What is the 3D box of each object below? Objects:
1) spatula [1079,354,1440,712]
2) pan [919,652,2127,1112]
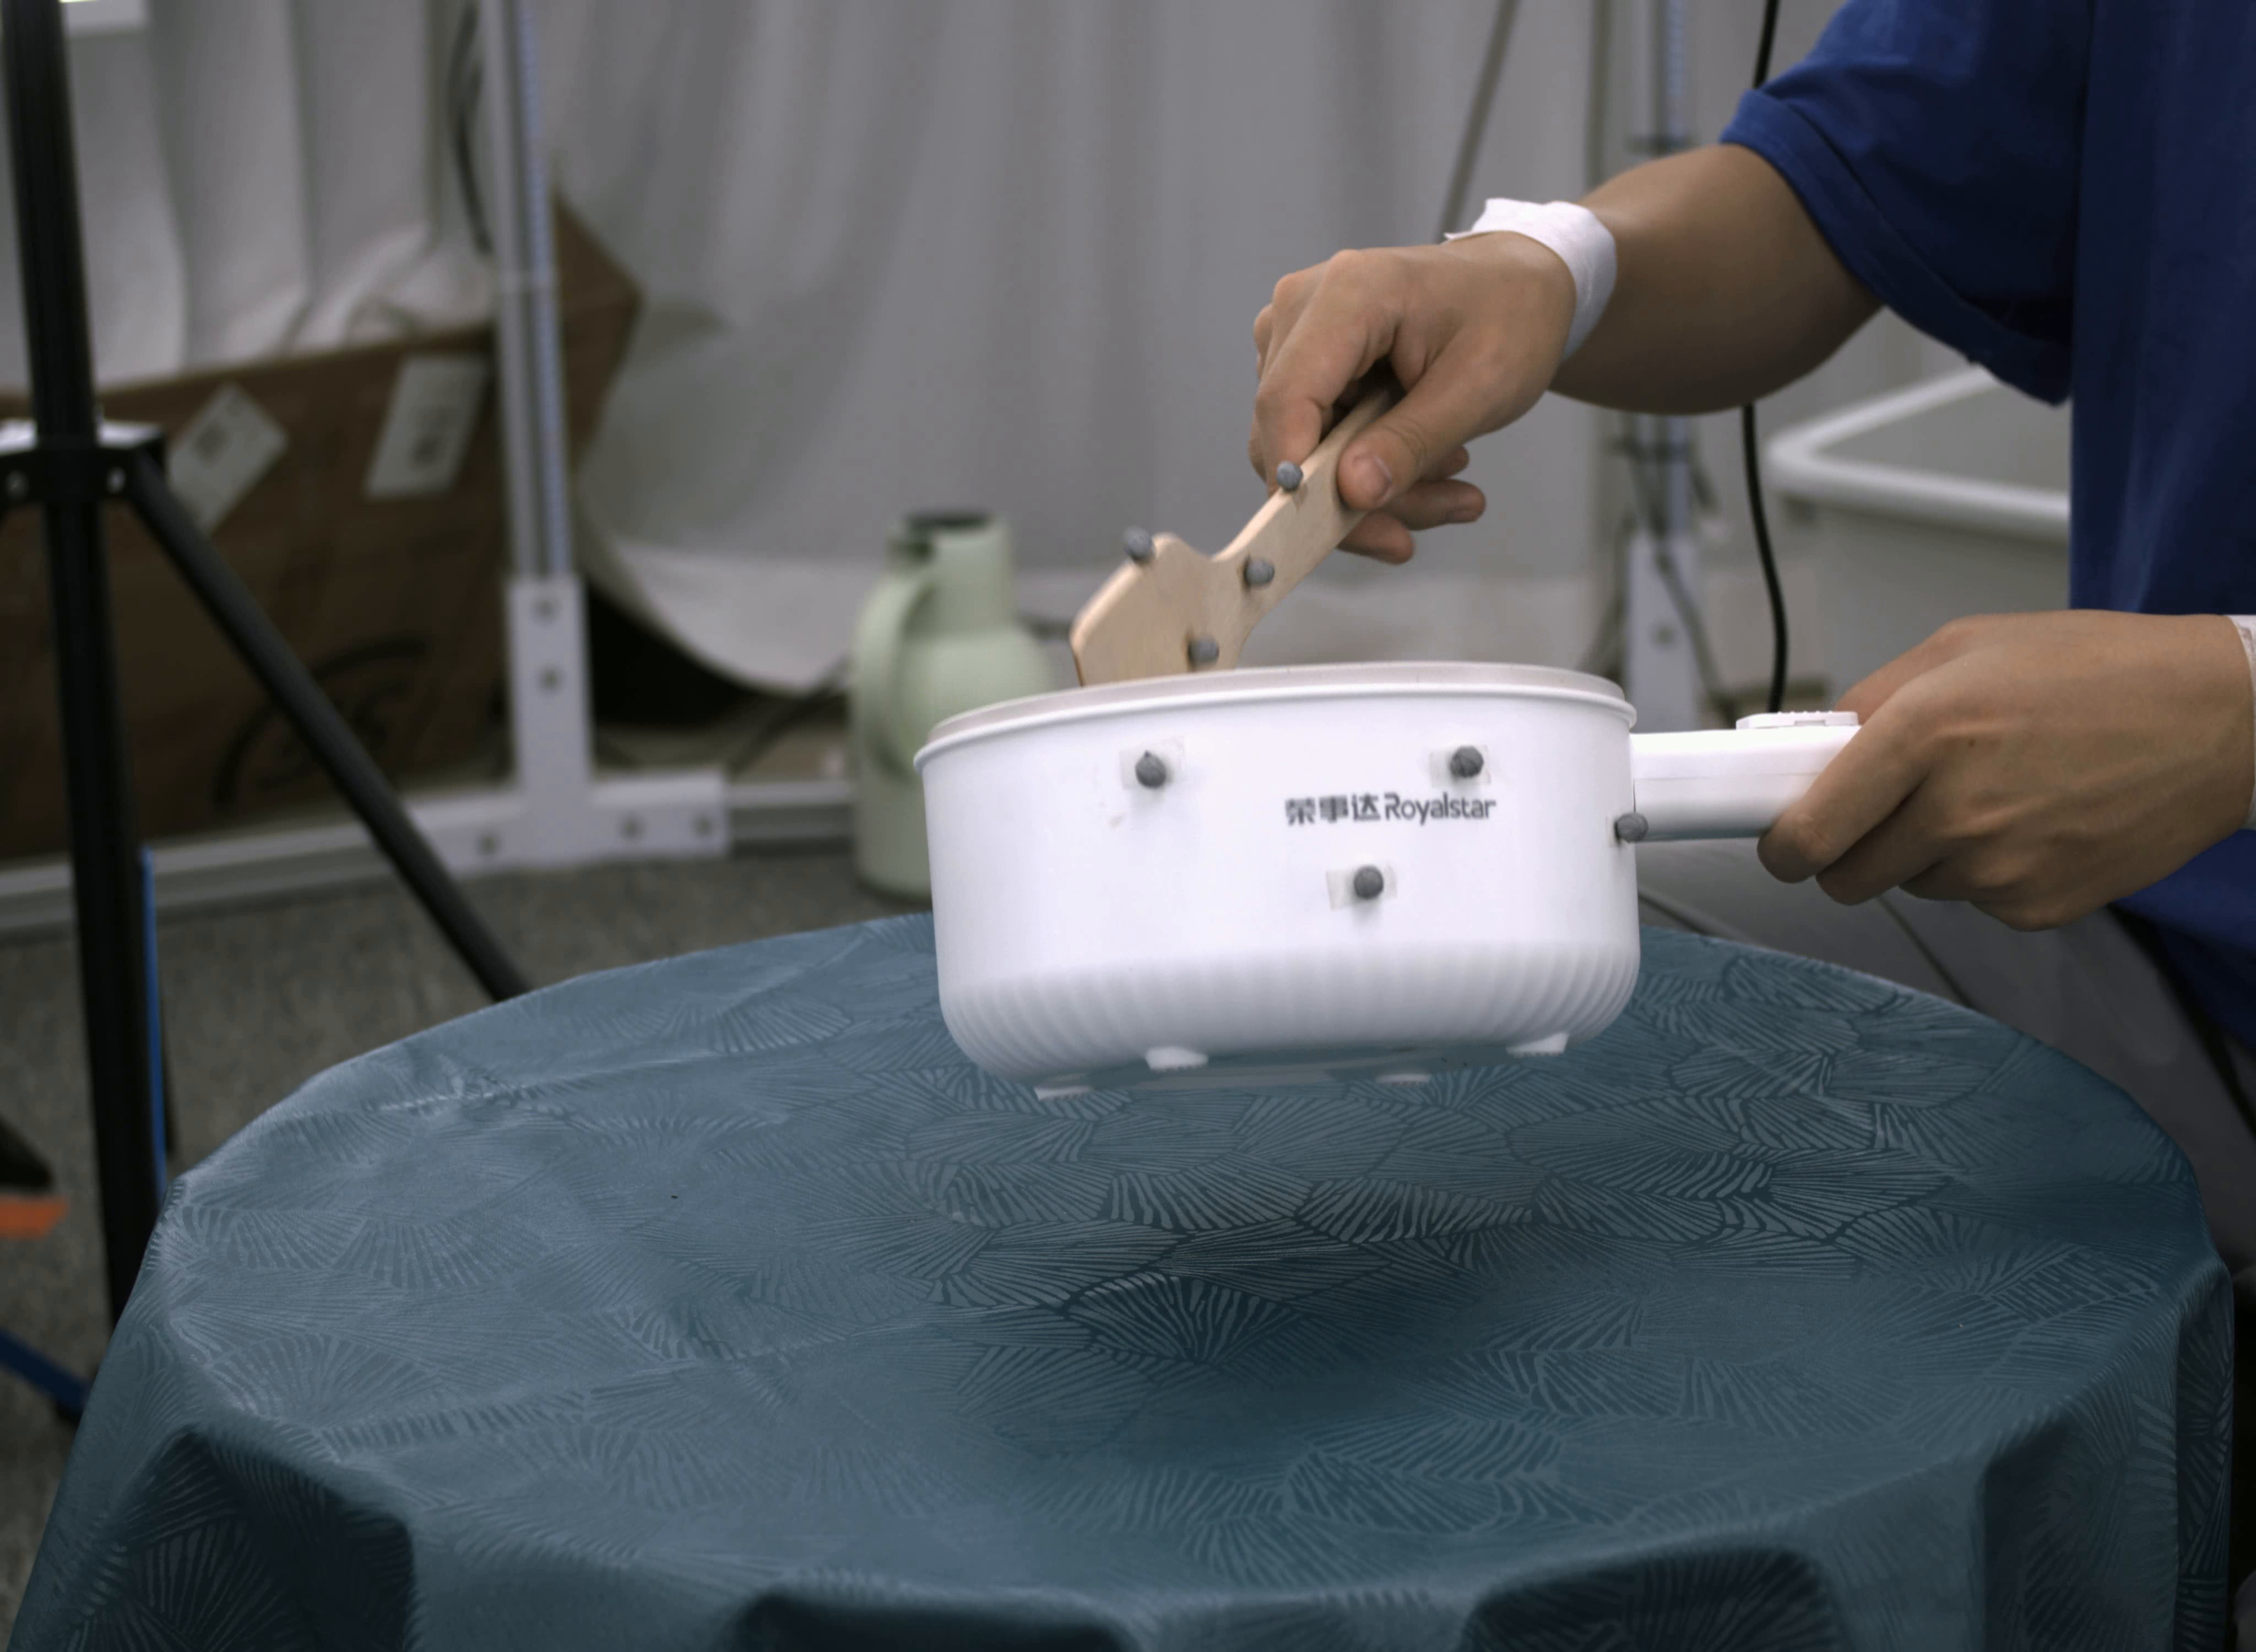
[{"bbox_3d":[0.043,-0.078,1.575,0.011,0.072,0.290,0,26,24],"label":"spatula"},{"bbox_3d":[0.117,0.019,1.488,0.348,0.103,0.203,-1,-9,-17],"label":"pan"}]
